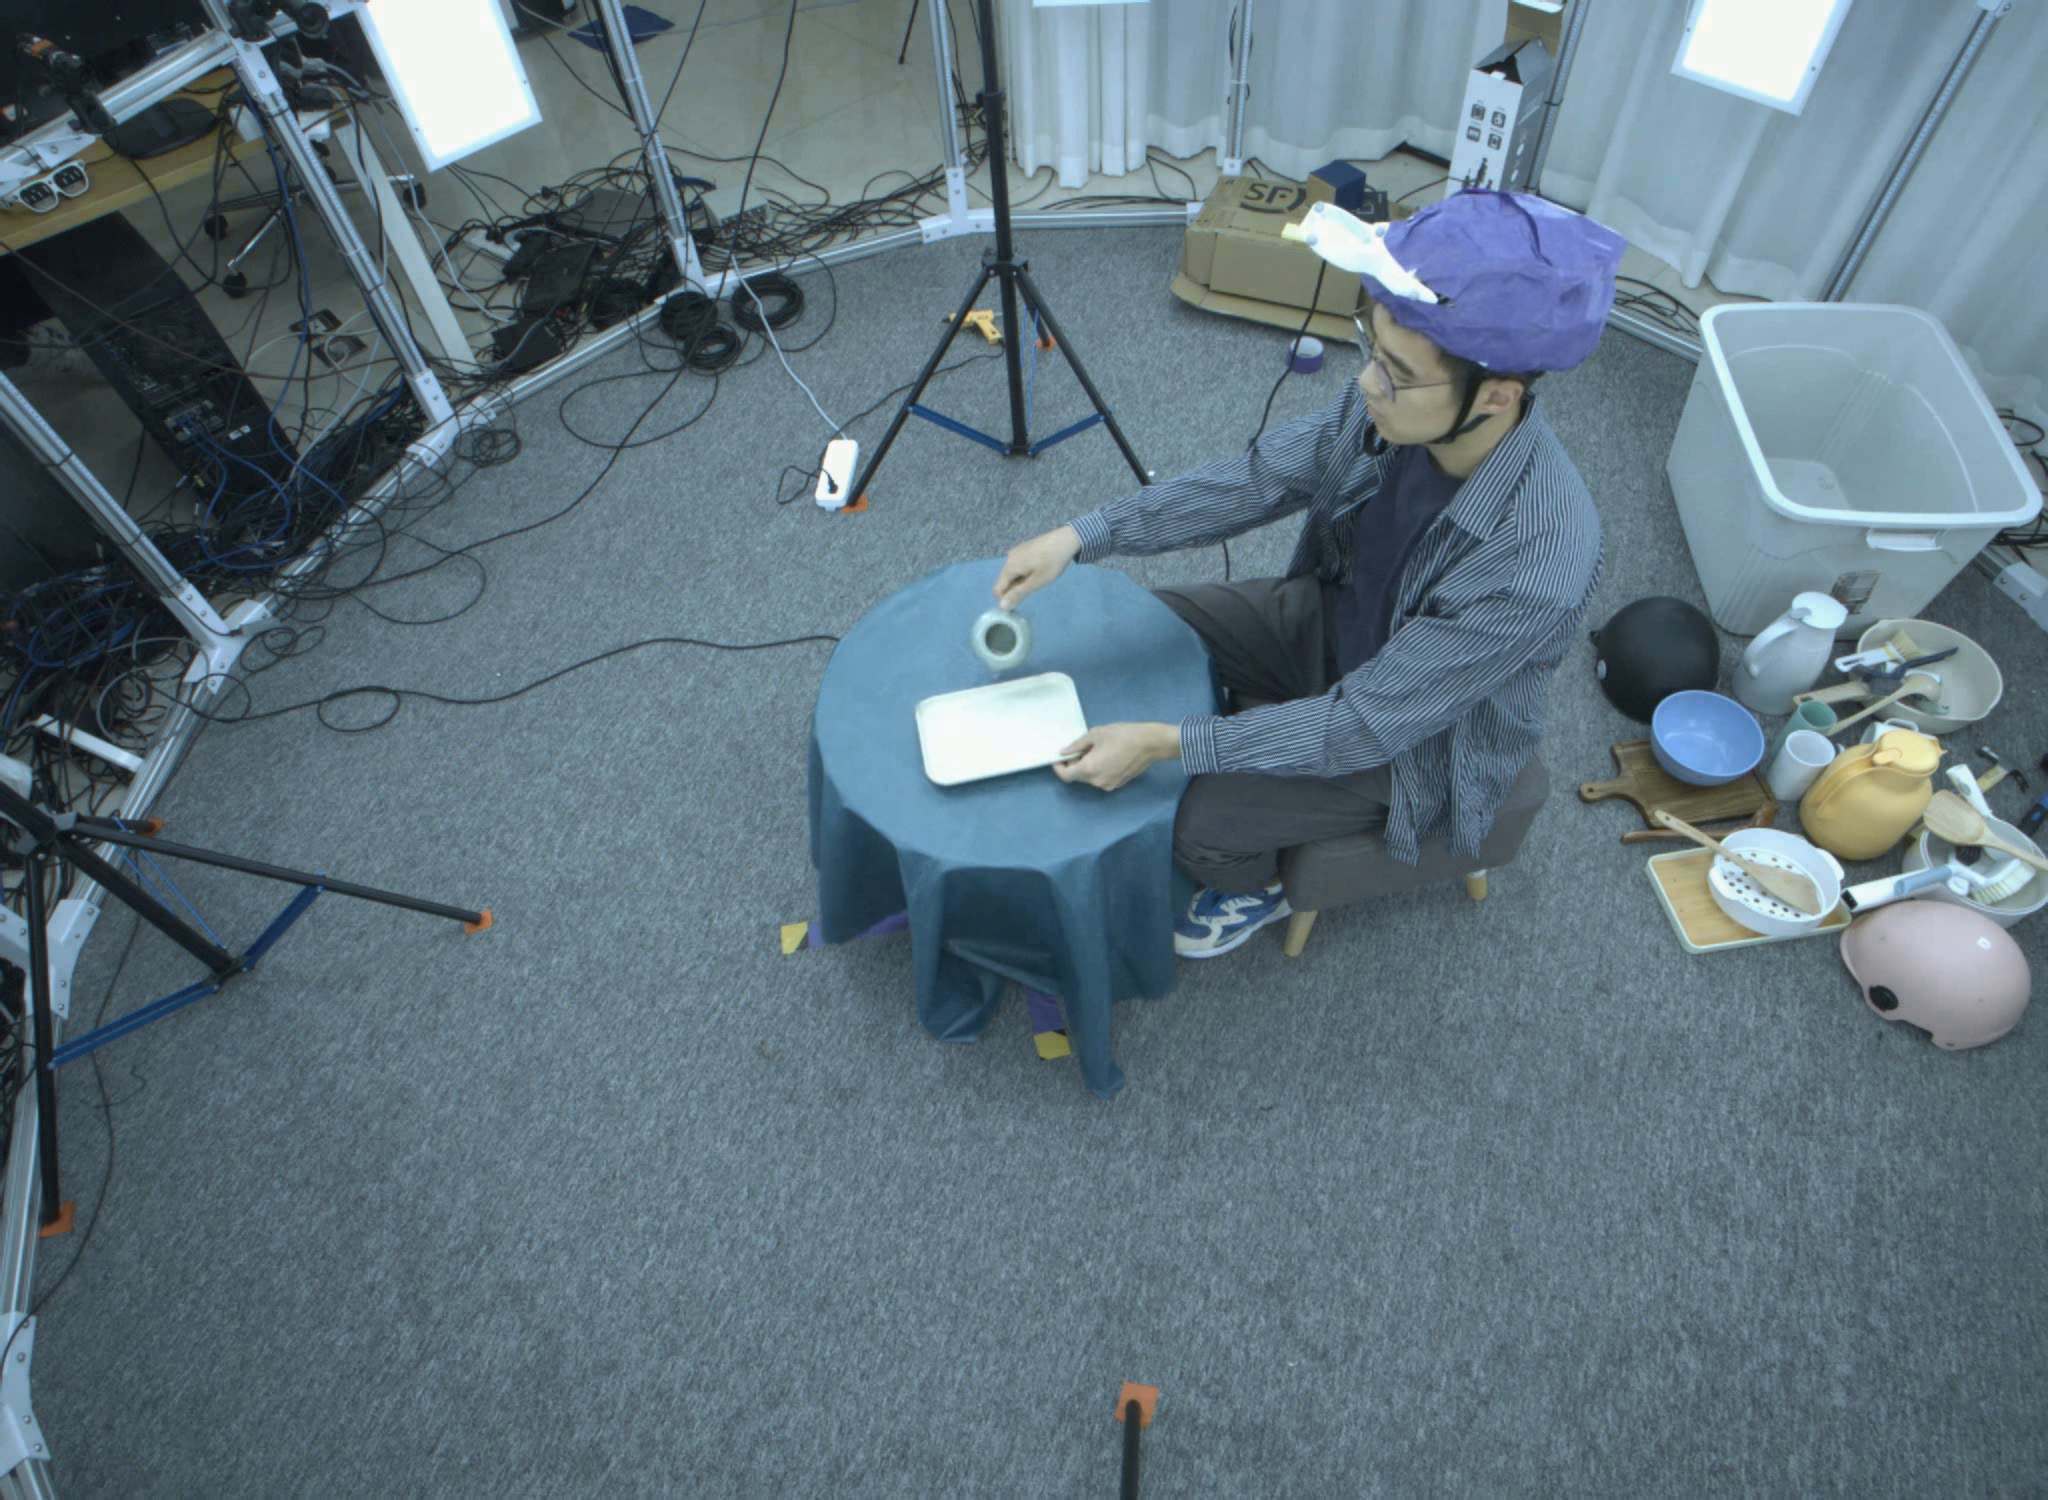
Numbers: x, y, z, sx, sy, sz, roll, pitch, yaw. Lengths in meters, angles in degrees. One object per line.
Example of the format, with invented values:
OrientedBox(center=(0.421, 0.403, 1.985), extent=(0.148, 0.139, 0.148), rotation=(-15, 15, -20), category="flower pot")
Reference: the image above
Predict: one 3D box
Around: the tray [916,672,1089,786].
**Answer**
OrientedBox(center=(-0.033, -0.031, 1.795), extent=(0.240, 0.018, 0.168), rotation=(-11, 52, -4), category="tray")

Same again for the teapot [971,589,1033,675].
OrientedBox(center=(-0.030, -0.175, 1.811), extent=(0.091, 0.128, 0.061), rotation=(16, 14, 2), category="teapot")
